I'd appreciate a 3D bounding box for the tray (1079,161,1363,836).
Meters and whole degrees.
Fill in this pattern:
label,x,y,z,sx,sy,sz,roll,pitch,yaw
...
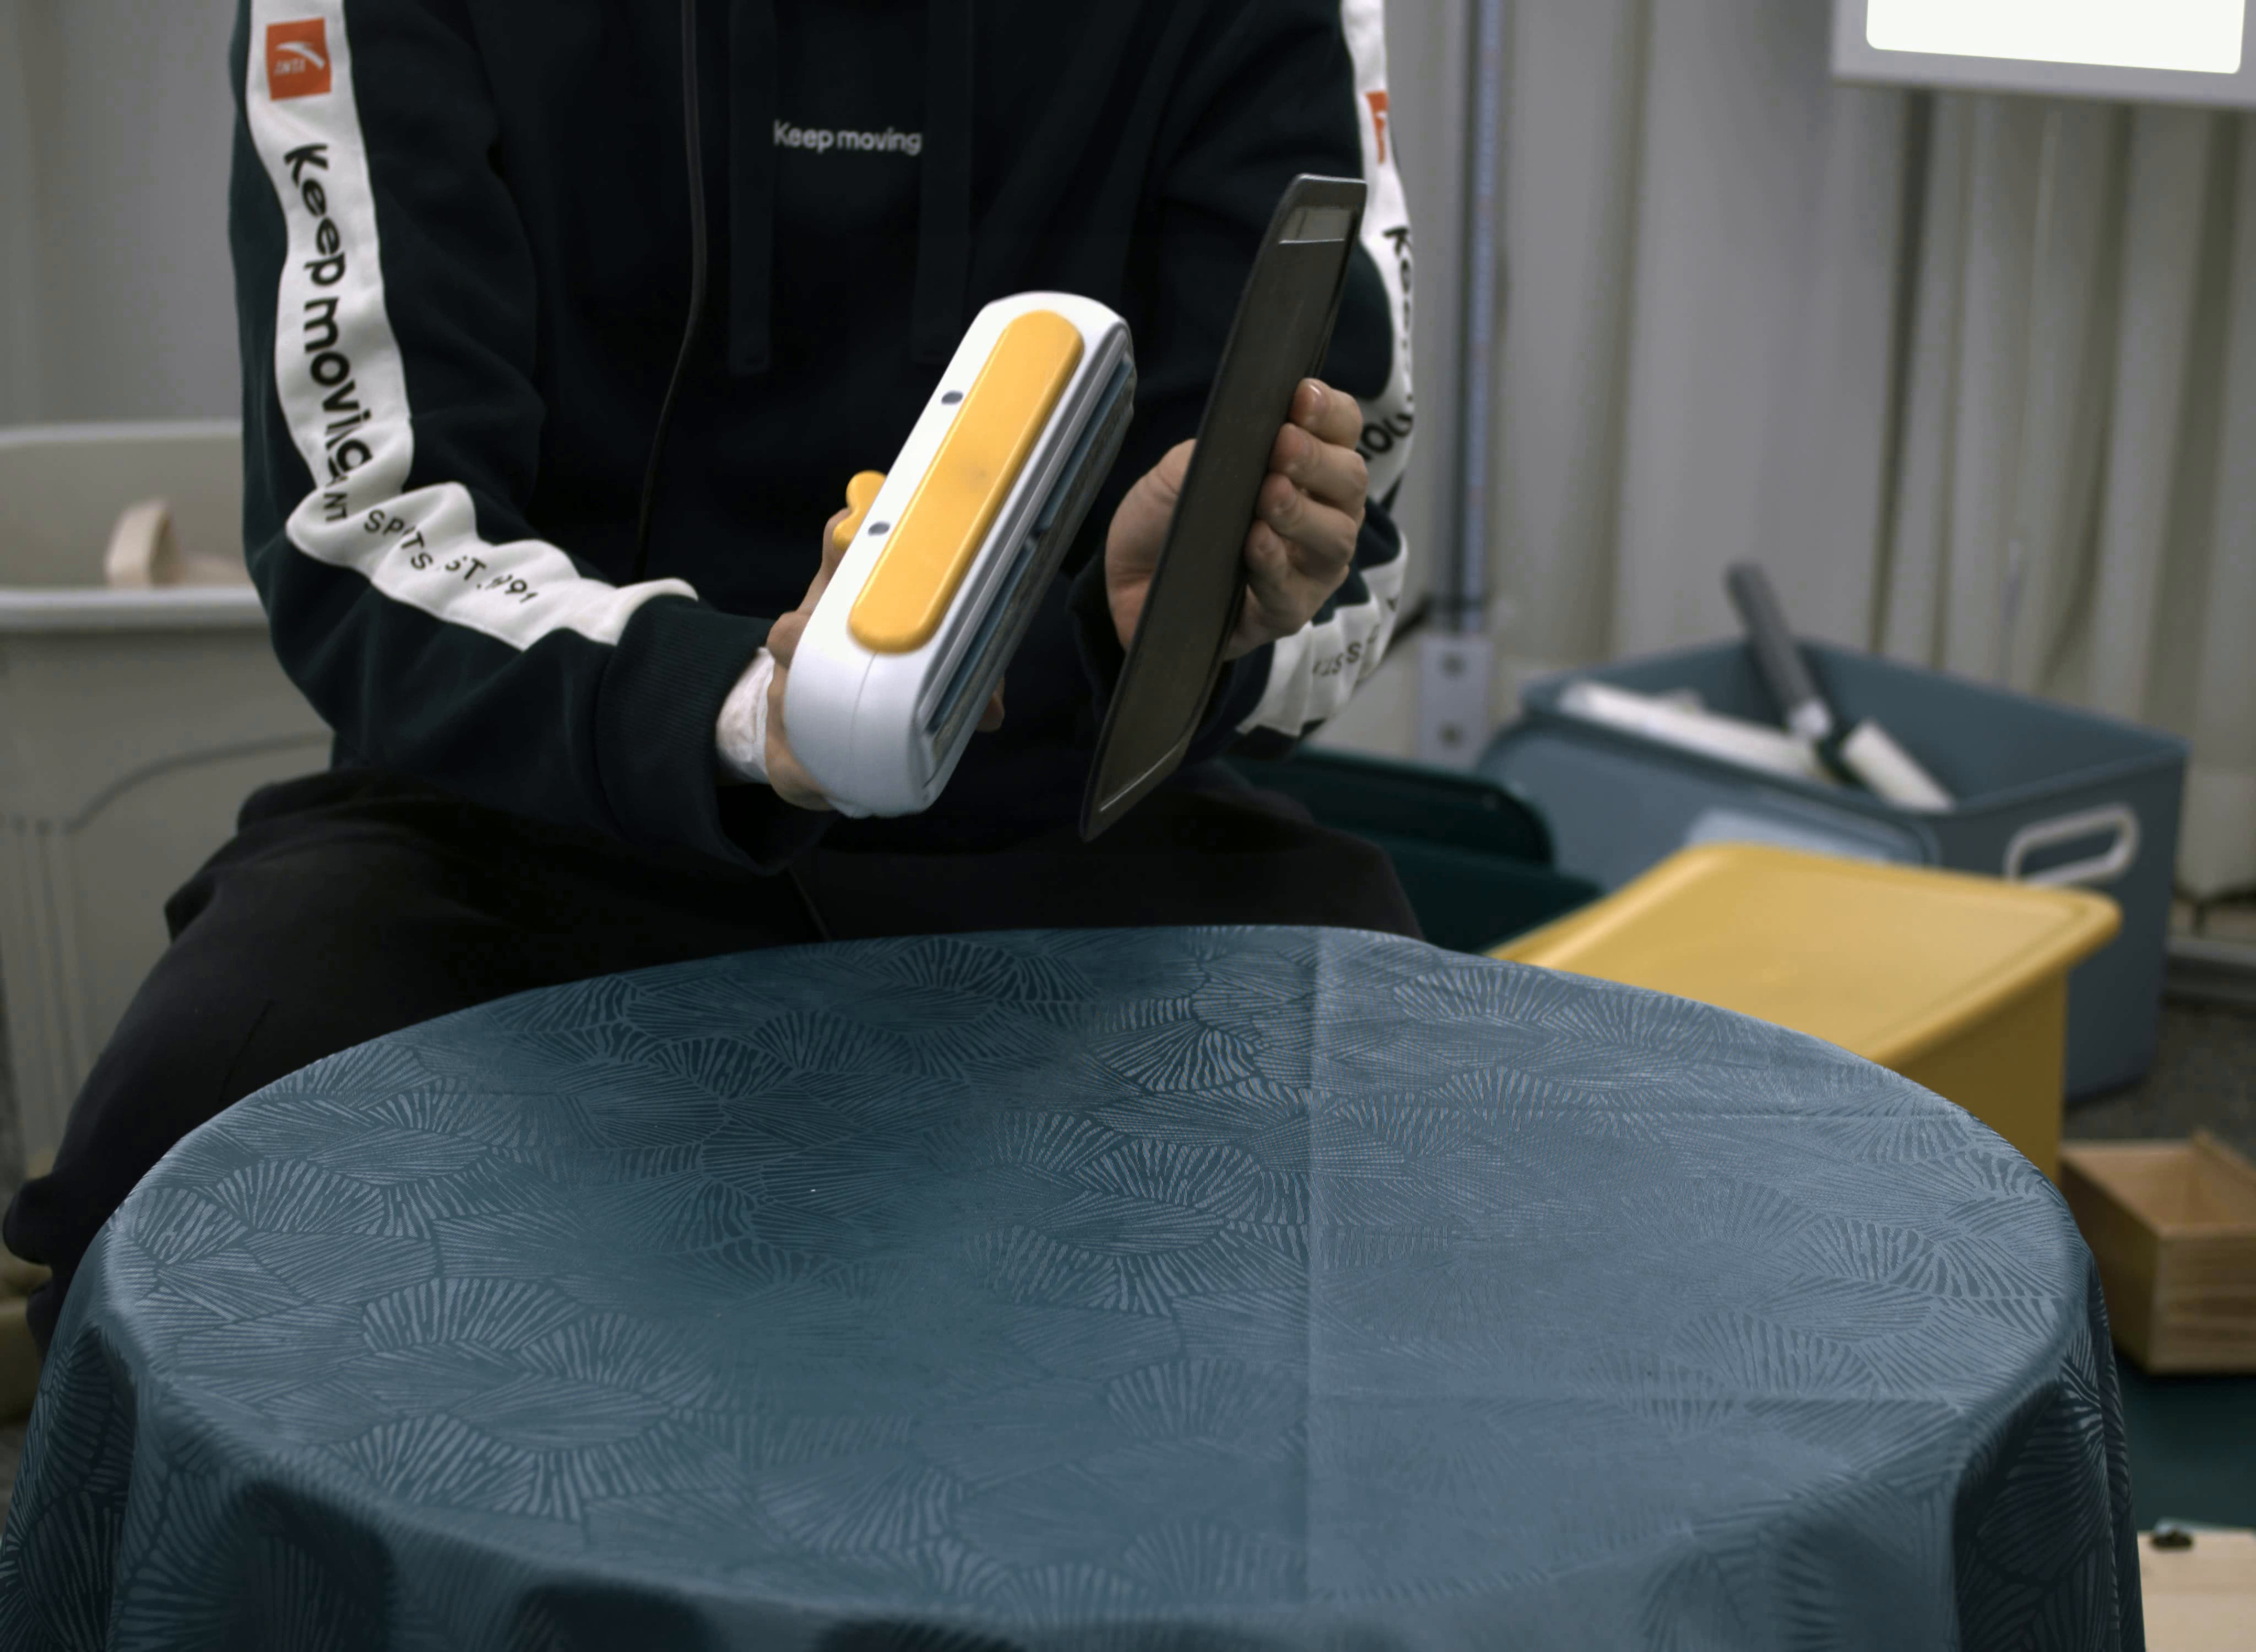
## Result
label,x,y,z,sx,sy,sz,roll,pitch,yaw
tray,0.035,-0.108,1.680,0.010,0.212,0.325,18,8,5

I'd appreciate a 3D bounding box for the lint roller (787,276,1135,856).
label,x,y,z,sx,sy,sz,roll,pitch,yaw
lint roller,-0.060,-0.057,1.687,0.074,0.194,0.192,16,52,7
